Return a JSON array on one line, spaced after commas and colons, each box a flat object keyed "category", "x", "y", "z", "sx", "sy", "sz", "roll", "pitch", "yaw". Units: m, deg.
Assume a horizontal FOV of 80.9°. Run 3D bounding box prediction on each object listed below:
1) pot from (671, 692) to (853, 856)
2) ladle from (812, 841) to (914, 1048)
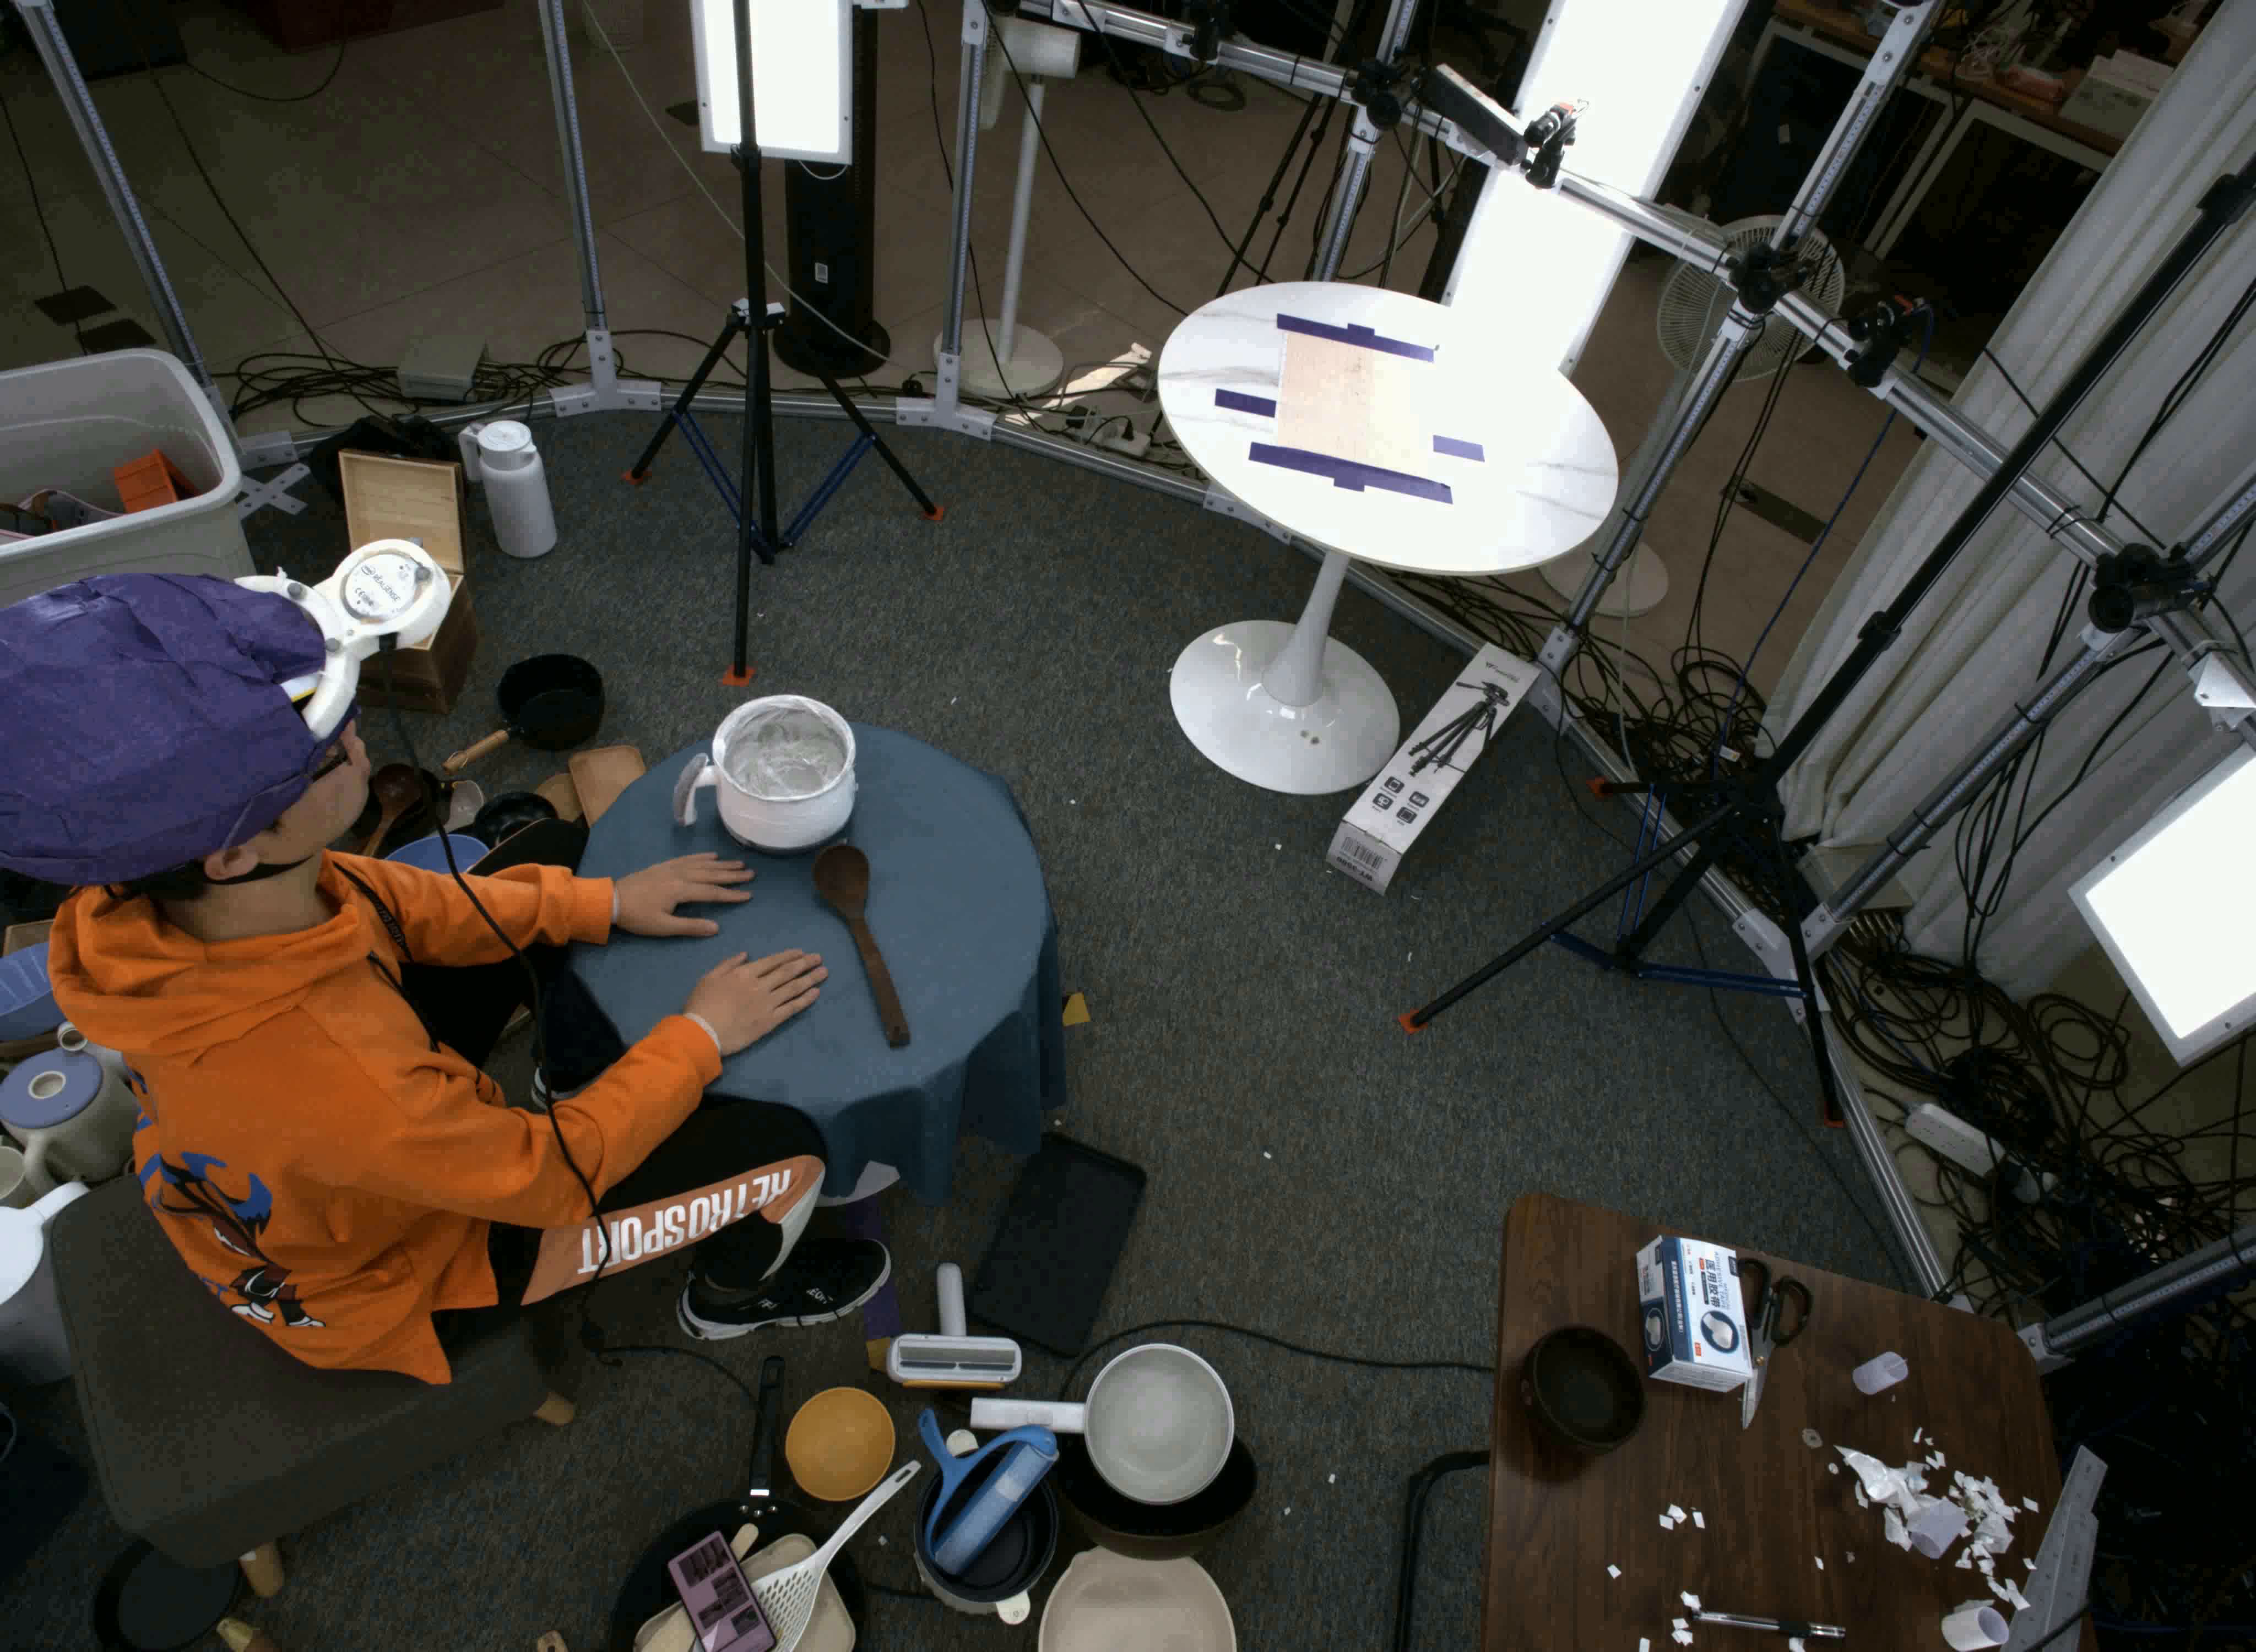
[{"category": "pot", "x": -0.469, "y": -0.058, "z": 1.656, "sx": 0.235, "sy": 0.139, "sz": 0.174, "roll": -12, "pitch": 56, "yaw": -22}, {"category": "ladle", "x": -0.319, "y": 0.138, "z": 1.593, "sx": 0.076, "sy": 0.073, "sz": 0.267, "roll": -17, "pitch": 59, "yaw": -21}]
